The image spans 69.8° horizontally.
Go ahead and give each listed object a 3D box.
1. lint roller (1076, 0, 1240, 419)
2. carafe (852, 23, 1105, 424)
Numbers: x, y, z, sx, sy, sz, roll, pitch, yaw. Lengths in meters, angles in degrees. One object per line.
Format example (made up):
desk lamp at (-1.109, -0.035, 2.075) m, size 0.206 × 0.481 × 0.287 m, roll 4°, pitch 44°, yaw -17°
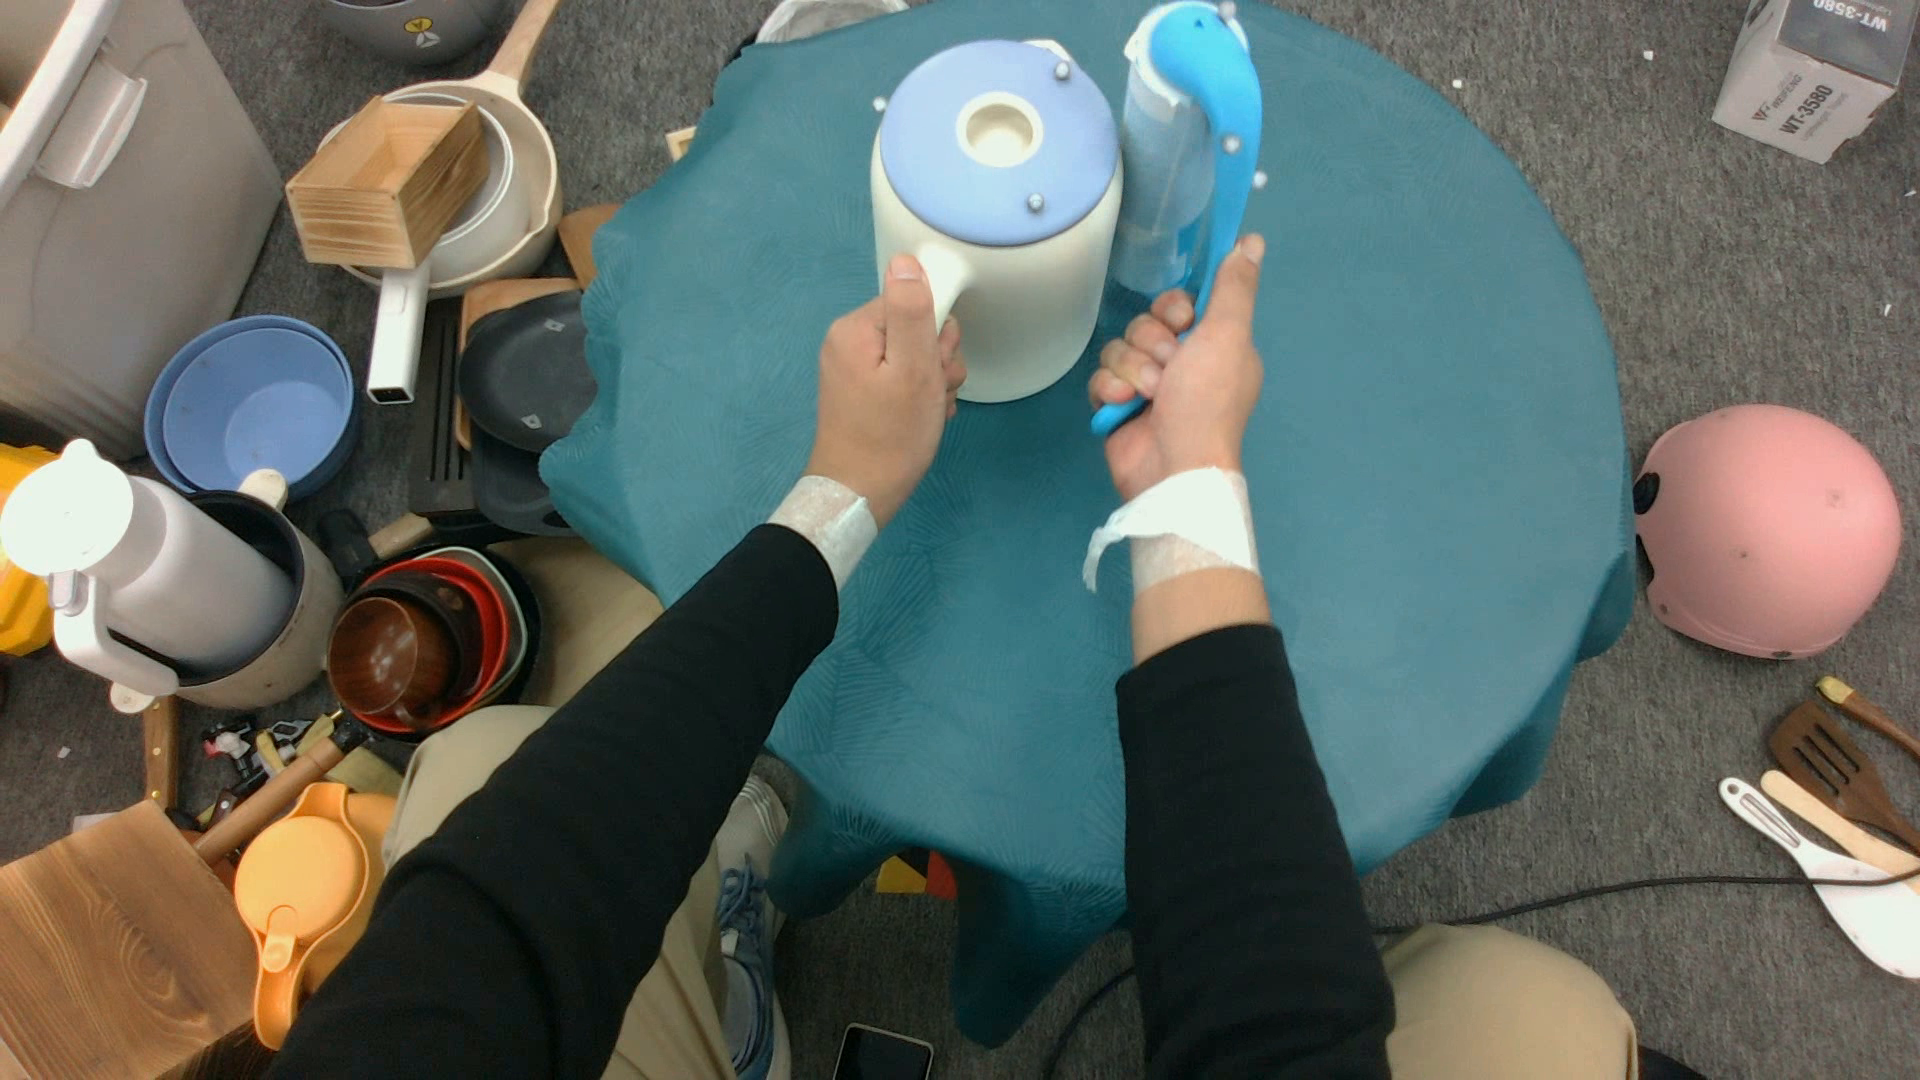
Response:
lint roller at (0.095, -0.146, 0.714) m, size 0.068 × 0.228 × 0.180 m, roll 3°, pitch 77°, yaw -1°
carafe at (-0.001, -0.156, 0.749) m, size 0.132 × 0.182 × 0.191 m, roll 21°, pitch 73°, yaw 7°
